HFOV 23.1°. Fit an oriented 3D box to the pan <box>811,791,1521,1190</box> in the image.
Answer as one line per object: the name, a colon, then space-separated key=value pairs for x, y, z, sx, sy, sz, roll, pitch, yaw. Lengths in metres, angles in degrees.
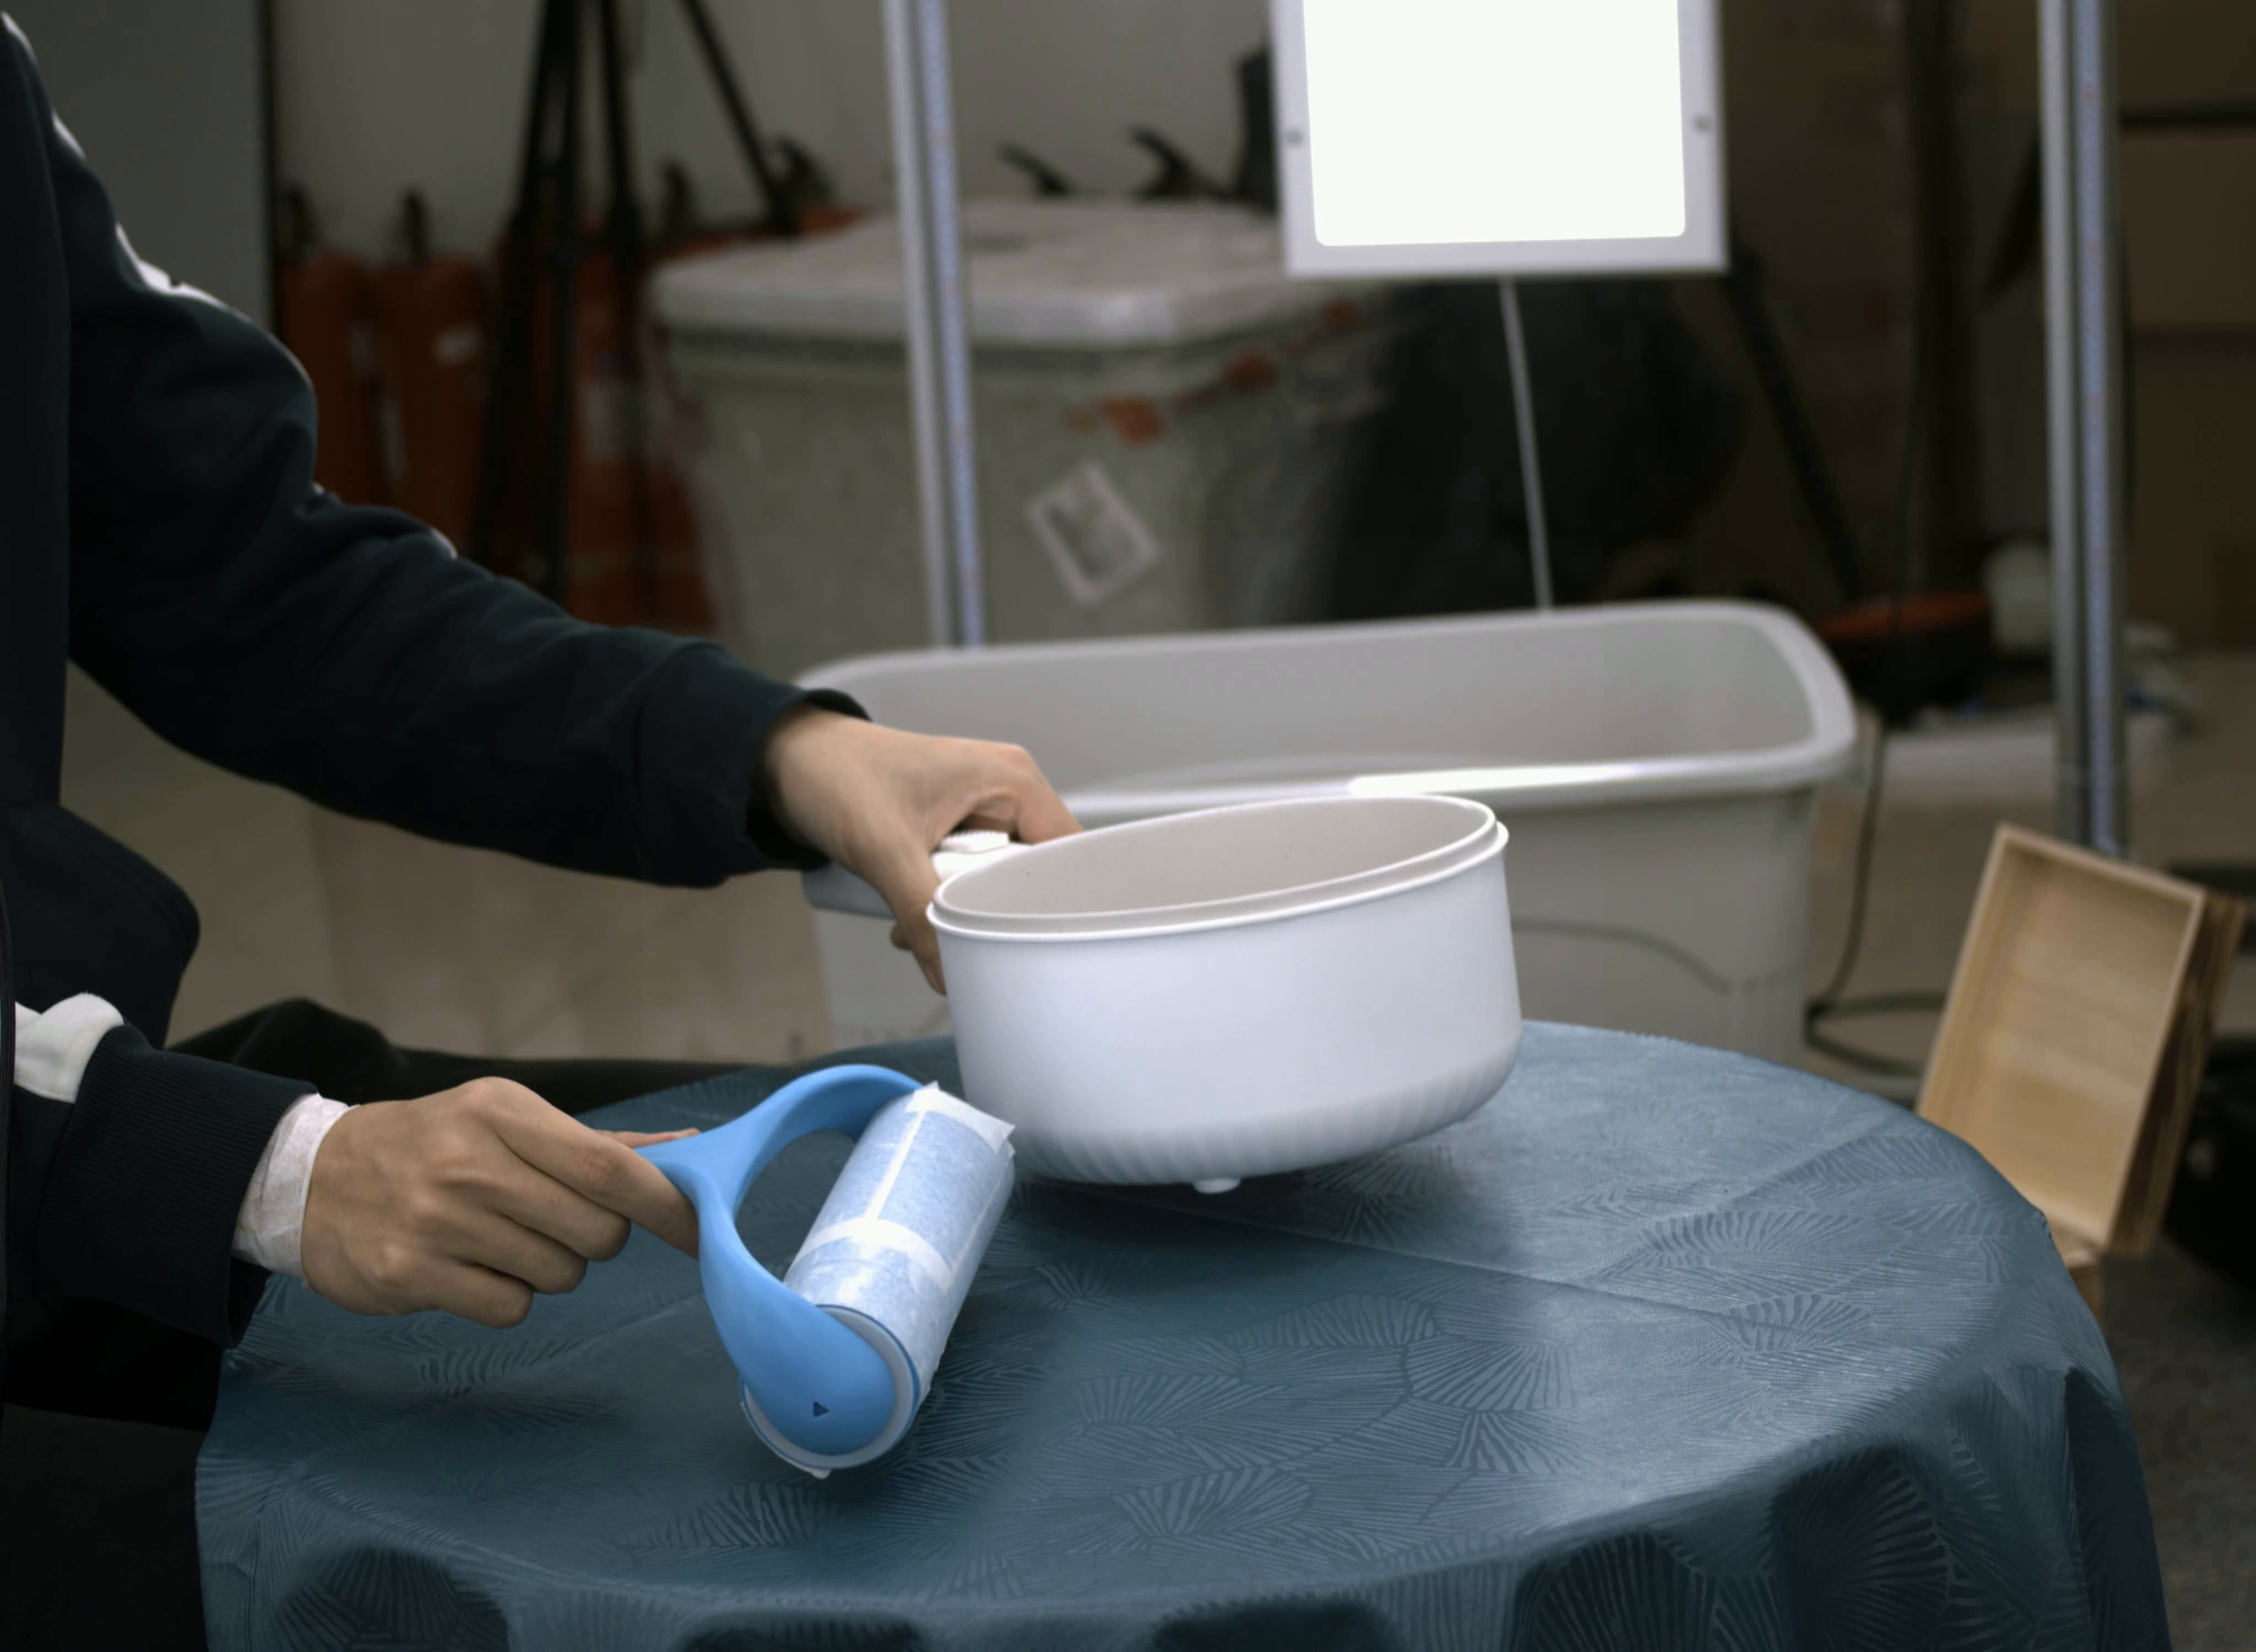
pan: x=-0.006 y=0.055 z=1.950 sx=0.196 sy=0.102 sz=0.362 roll=-15 pitch=9 yaw=-31

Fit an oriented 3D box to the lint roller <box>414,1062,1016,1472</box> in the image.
lint roller: x=-0.133 y=0.130 z=1.714 sx=0.180 sy=0.068 sz=0.227 roll=6 pitch=19 yaw=4
